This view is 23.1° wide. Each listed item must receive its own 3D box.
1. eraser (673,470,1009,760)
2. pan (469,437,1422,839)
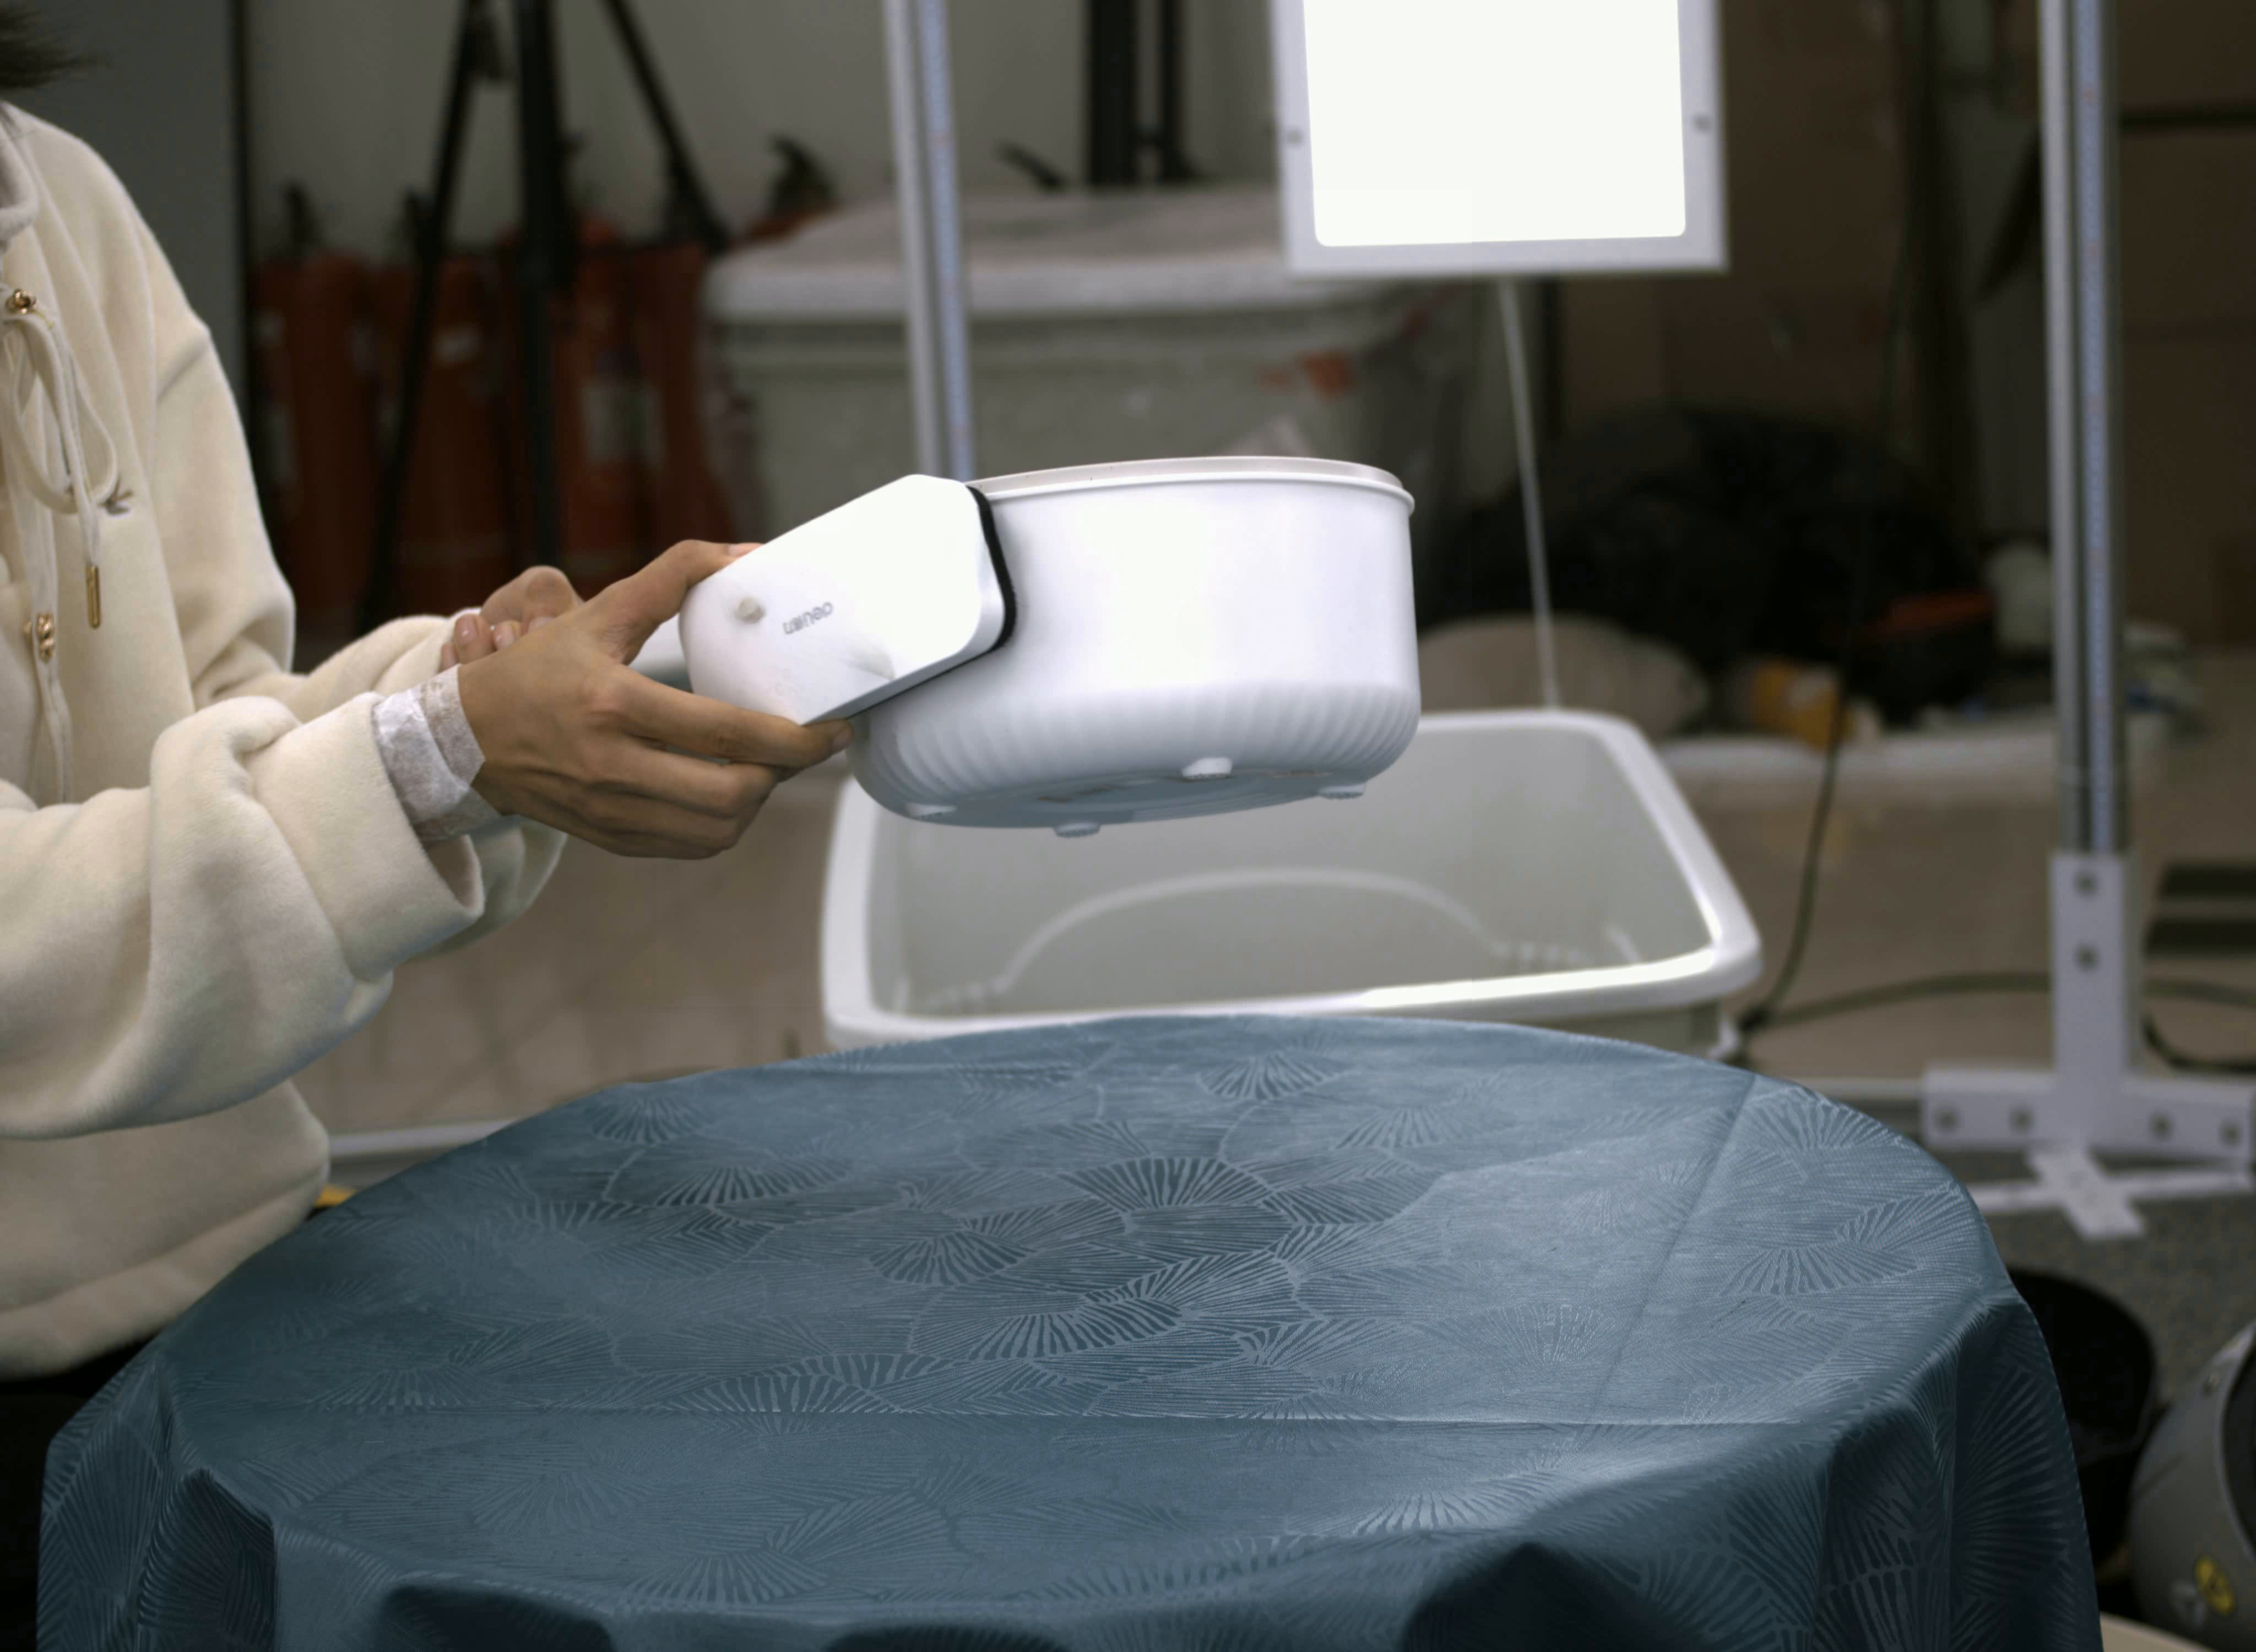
[{"bbox_3d":[-0.096,-0.068,1.779,0.134,0.063,0.033,-24,-17,40],"label":"eraser"},{"bbox_3d":[-0.067,-0.045,1.877,0.361,0.102,0.197,-11,-9,28],"label":"pan"}]
